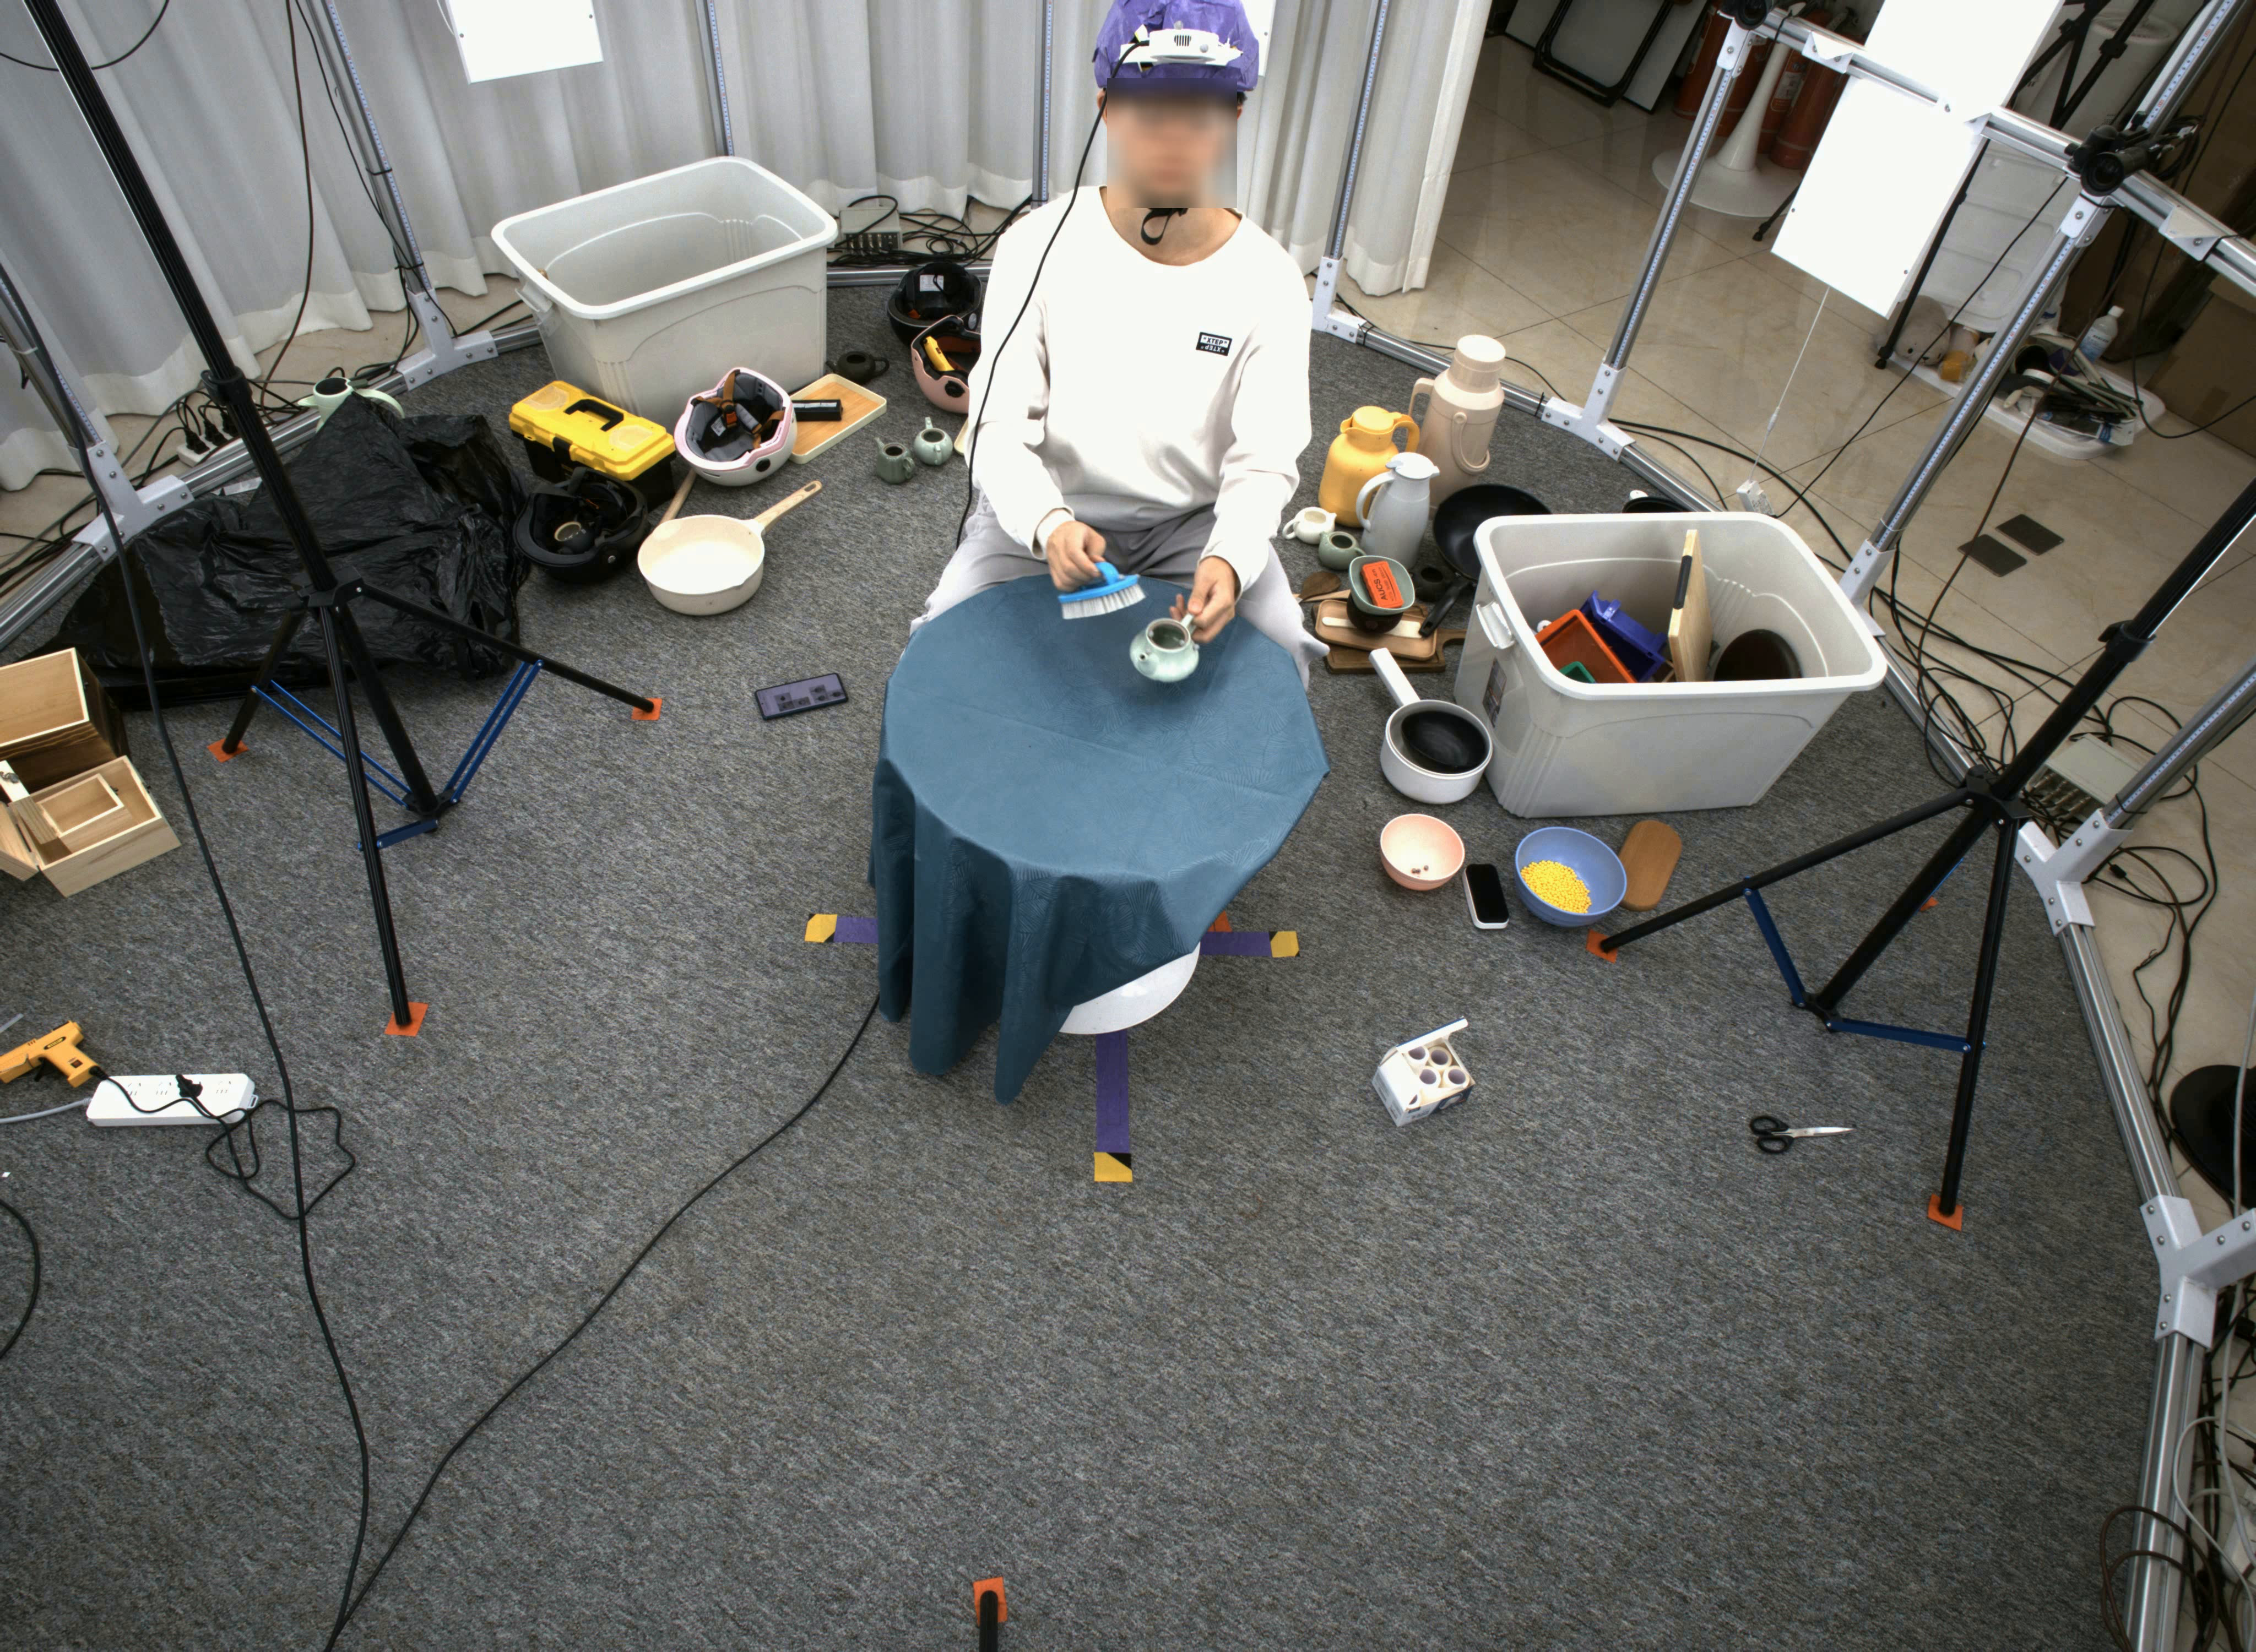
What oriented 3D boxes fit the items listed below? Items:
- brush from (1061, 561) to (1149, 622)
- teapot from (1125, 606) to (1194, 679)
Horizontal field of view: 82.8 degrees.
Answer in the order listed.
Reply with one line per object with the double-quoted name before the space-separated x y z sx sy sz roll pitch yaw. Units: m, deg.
"brush" -0.039 -0.328 1.765 0.085 0.063 0.142 -36 21 -32
"teapot" 0.048 -0.254 1.790 0.097 0.060 0.139 31 55 20
